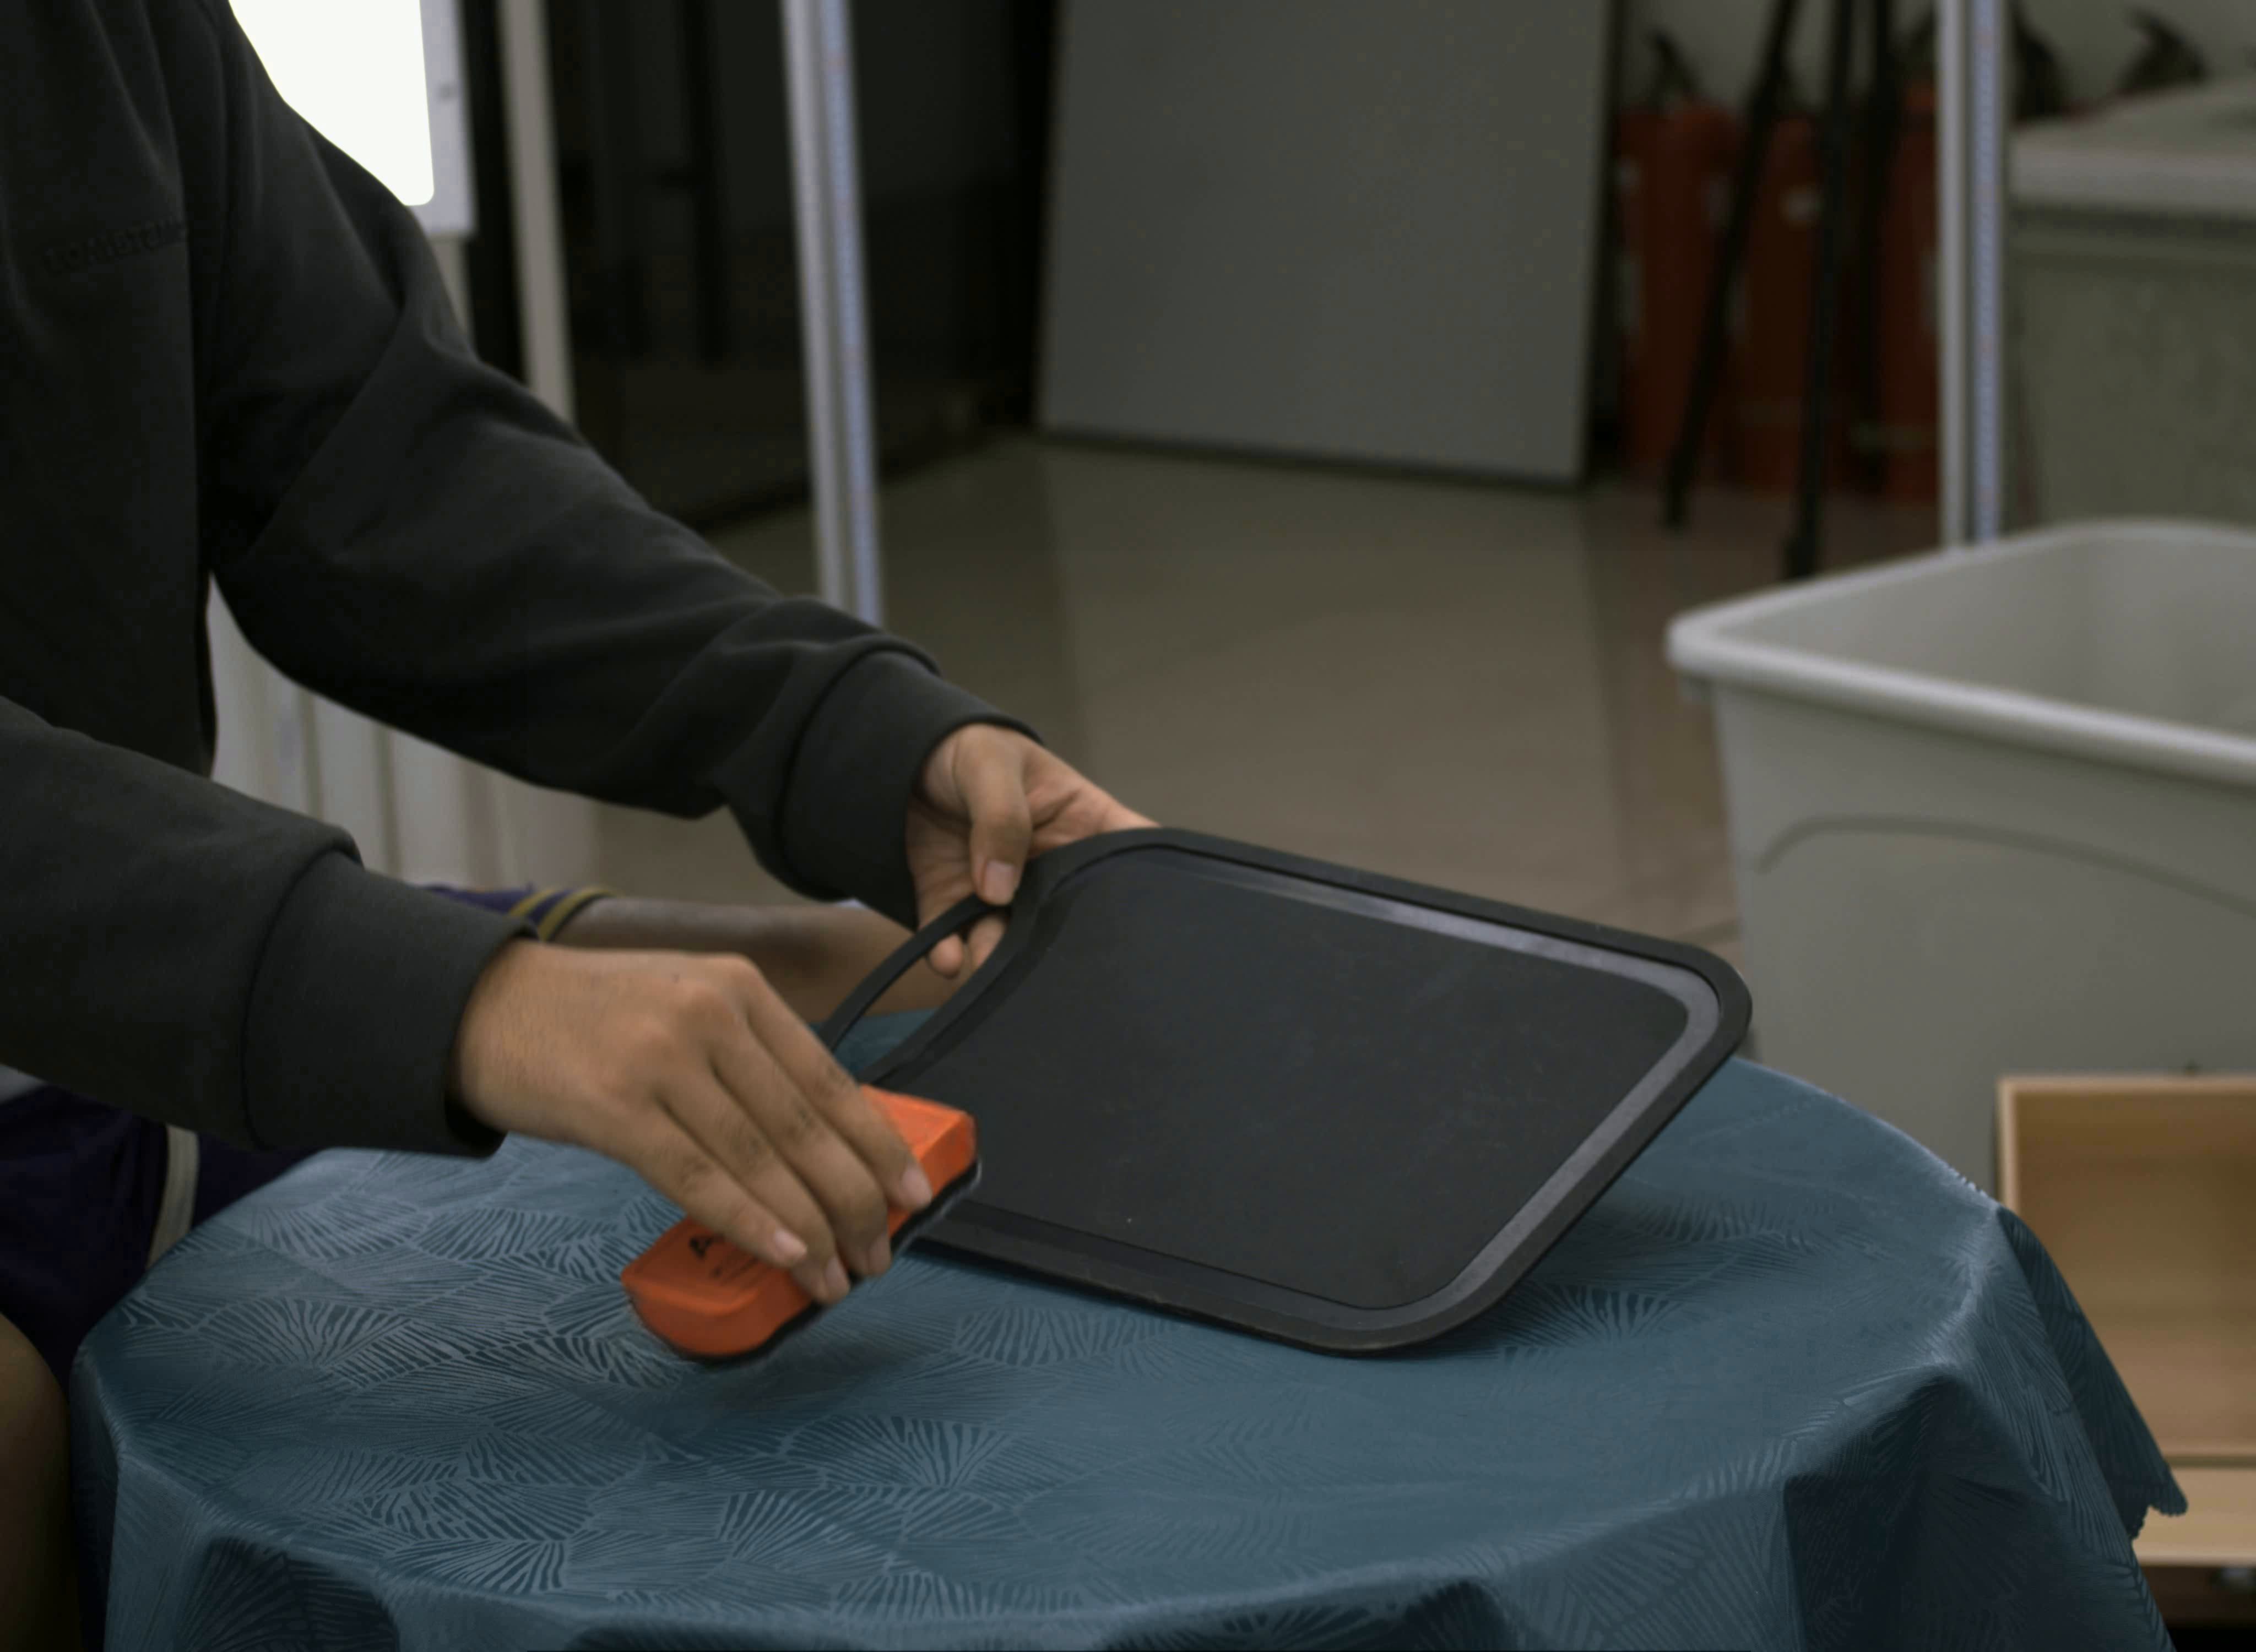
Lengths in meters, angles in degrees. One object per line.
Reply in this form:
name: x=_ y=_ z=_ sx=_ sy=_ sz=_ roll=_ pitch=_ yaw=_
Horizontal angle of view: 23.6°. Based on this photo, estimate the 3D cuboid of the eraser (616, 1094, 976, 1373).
eraser: x=-0.099 y=0.120 z=1.611 sx=0.059 sy=0.023 sz=0.106 roll=10 pitch=38 yaw=45

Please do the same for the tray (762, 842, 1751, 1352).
tray: x=0.031 y=0.079 z=1.741 sx=0.328 sy=0.010 sz=0.209 roll=12 pitch=43 yaw=42
